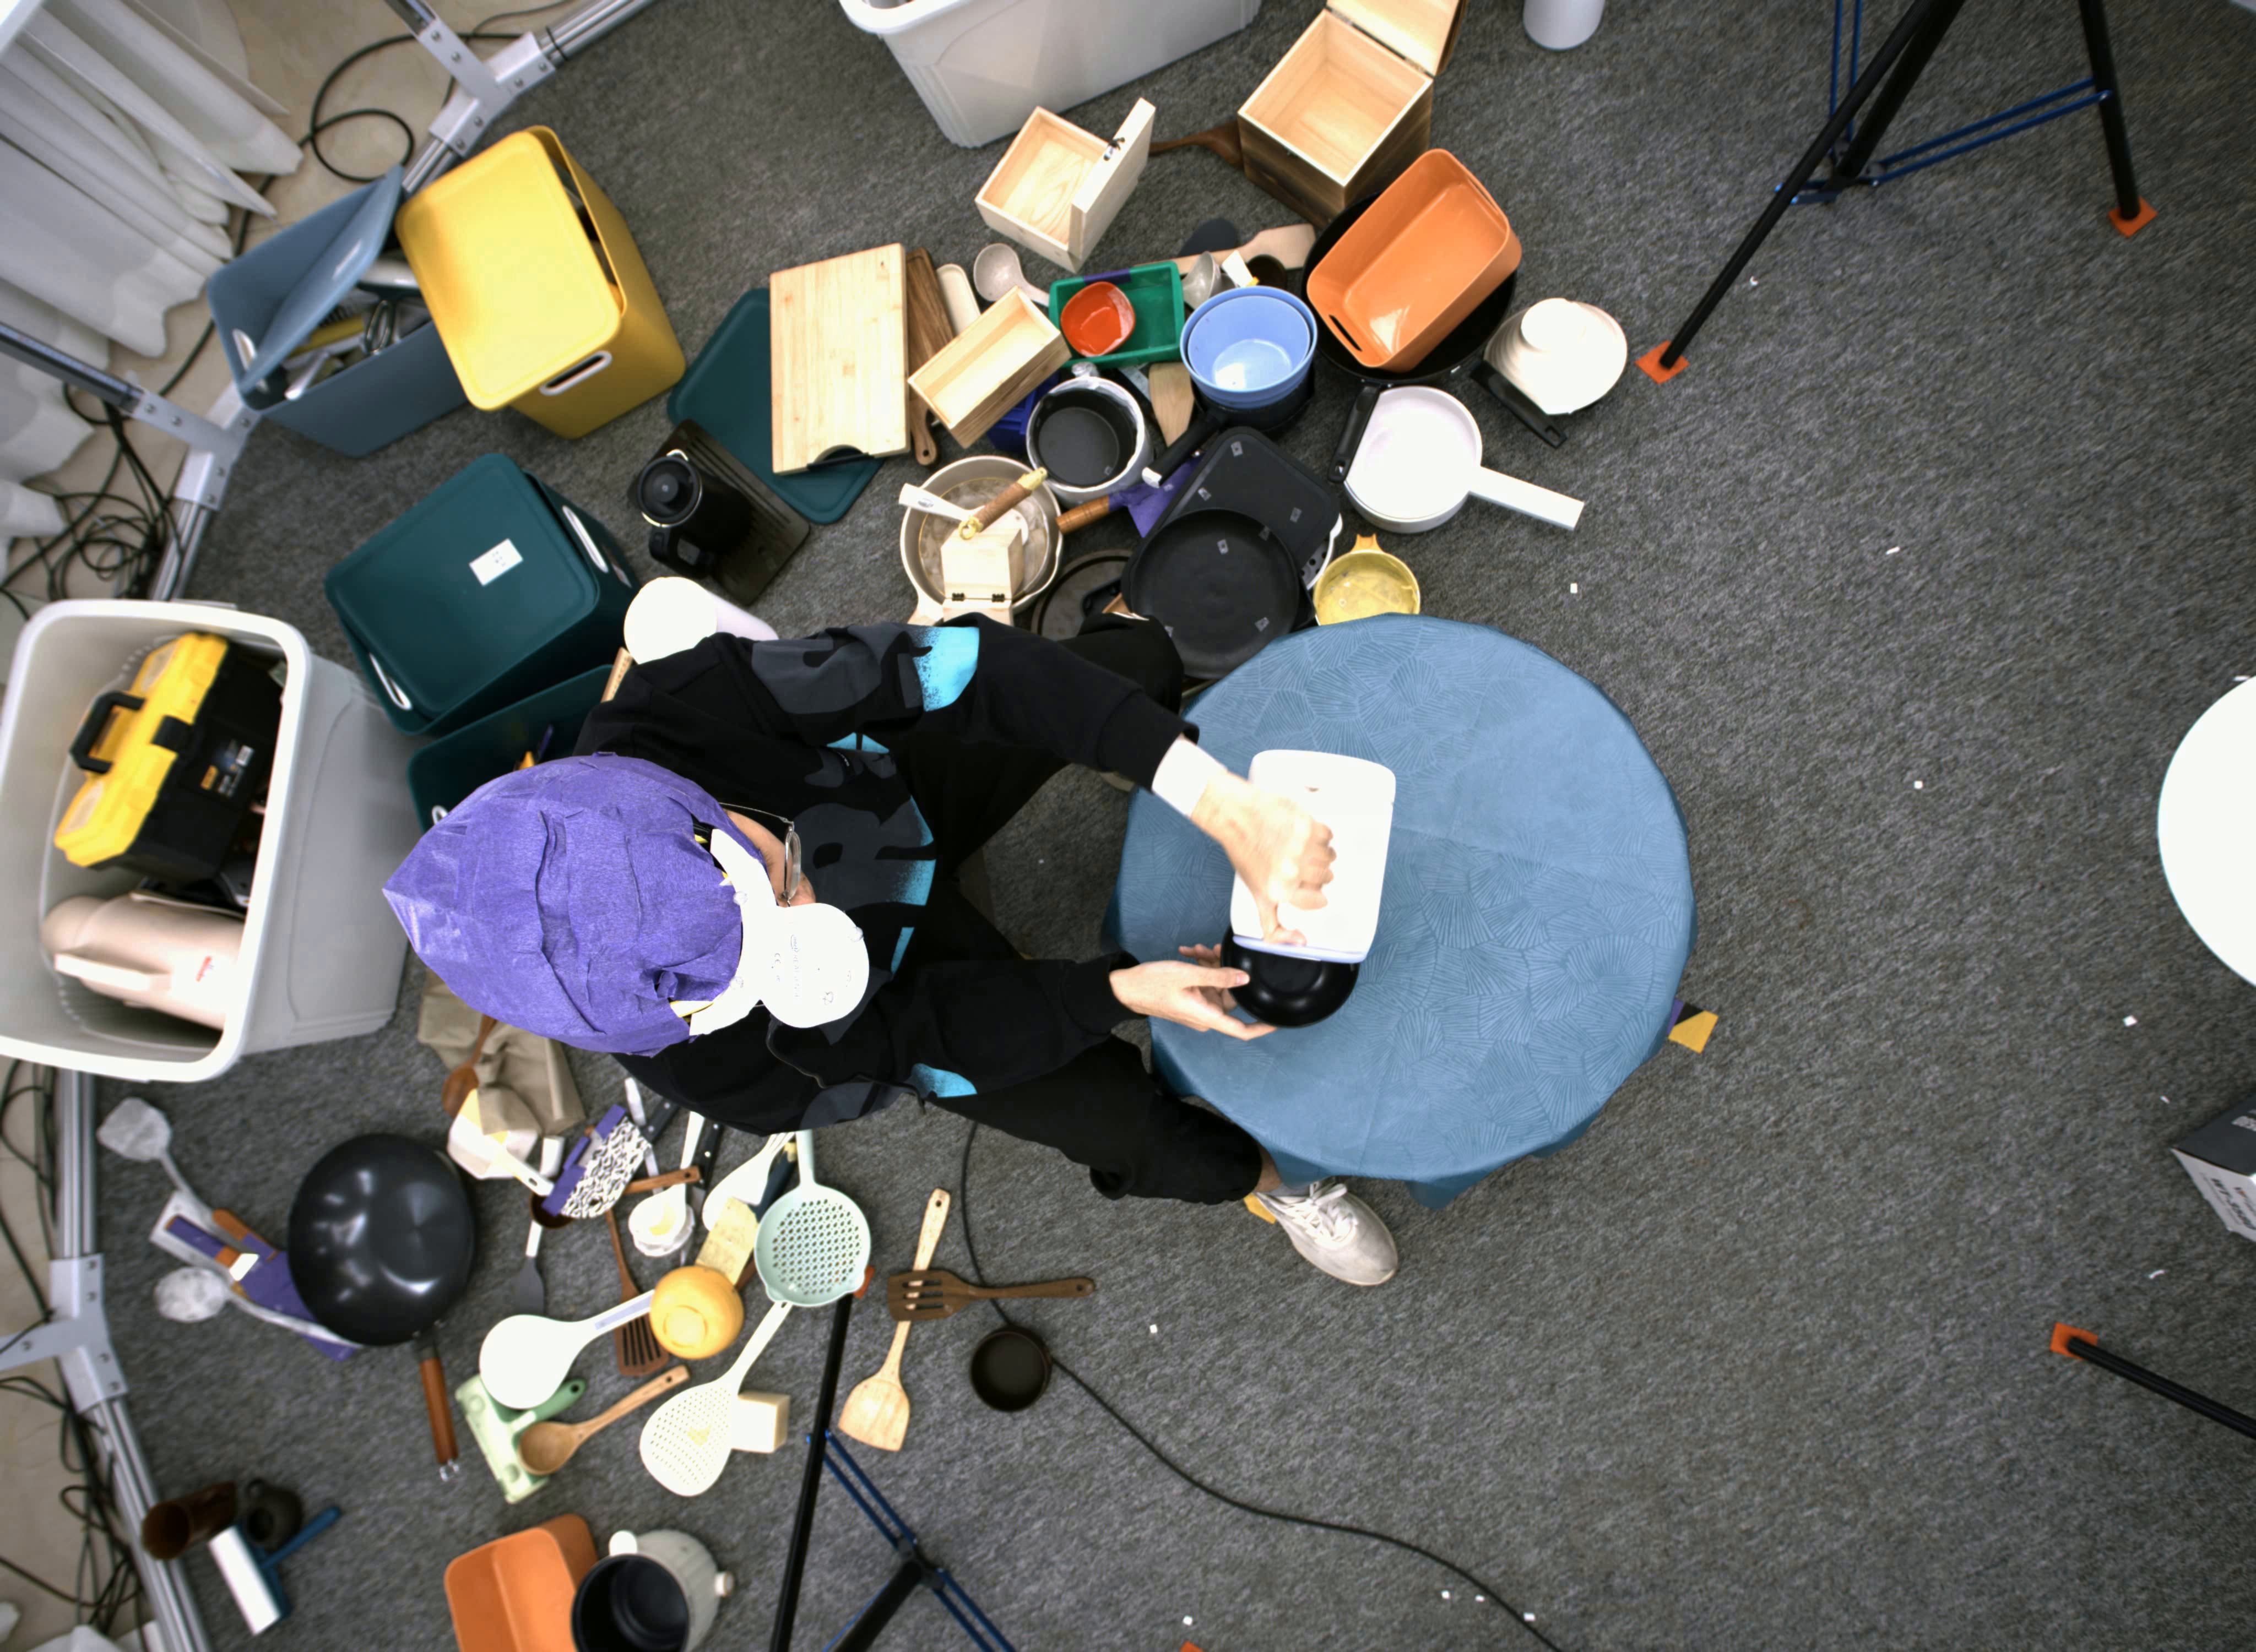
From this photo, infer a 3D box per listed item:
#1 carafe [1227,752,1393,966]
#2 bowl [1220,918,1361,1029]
[{"bbox_3d":[0.154,0.026,1.202,0.132,0.191,0.182,7,88,16],"label":"carafe"},{"bbox_3d":[0.162,0.133,1.391,0.140,0.050,0.139,-1,85,7],"label":"bowl"}]
